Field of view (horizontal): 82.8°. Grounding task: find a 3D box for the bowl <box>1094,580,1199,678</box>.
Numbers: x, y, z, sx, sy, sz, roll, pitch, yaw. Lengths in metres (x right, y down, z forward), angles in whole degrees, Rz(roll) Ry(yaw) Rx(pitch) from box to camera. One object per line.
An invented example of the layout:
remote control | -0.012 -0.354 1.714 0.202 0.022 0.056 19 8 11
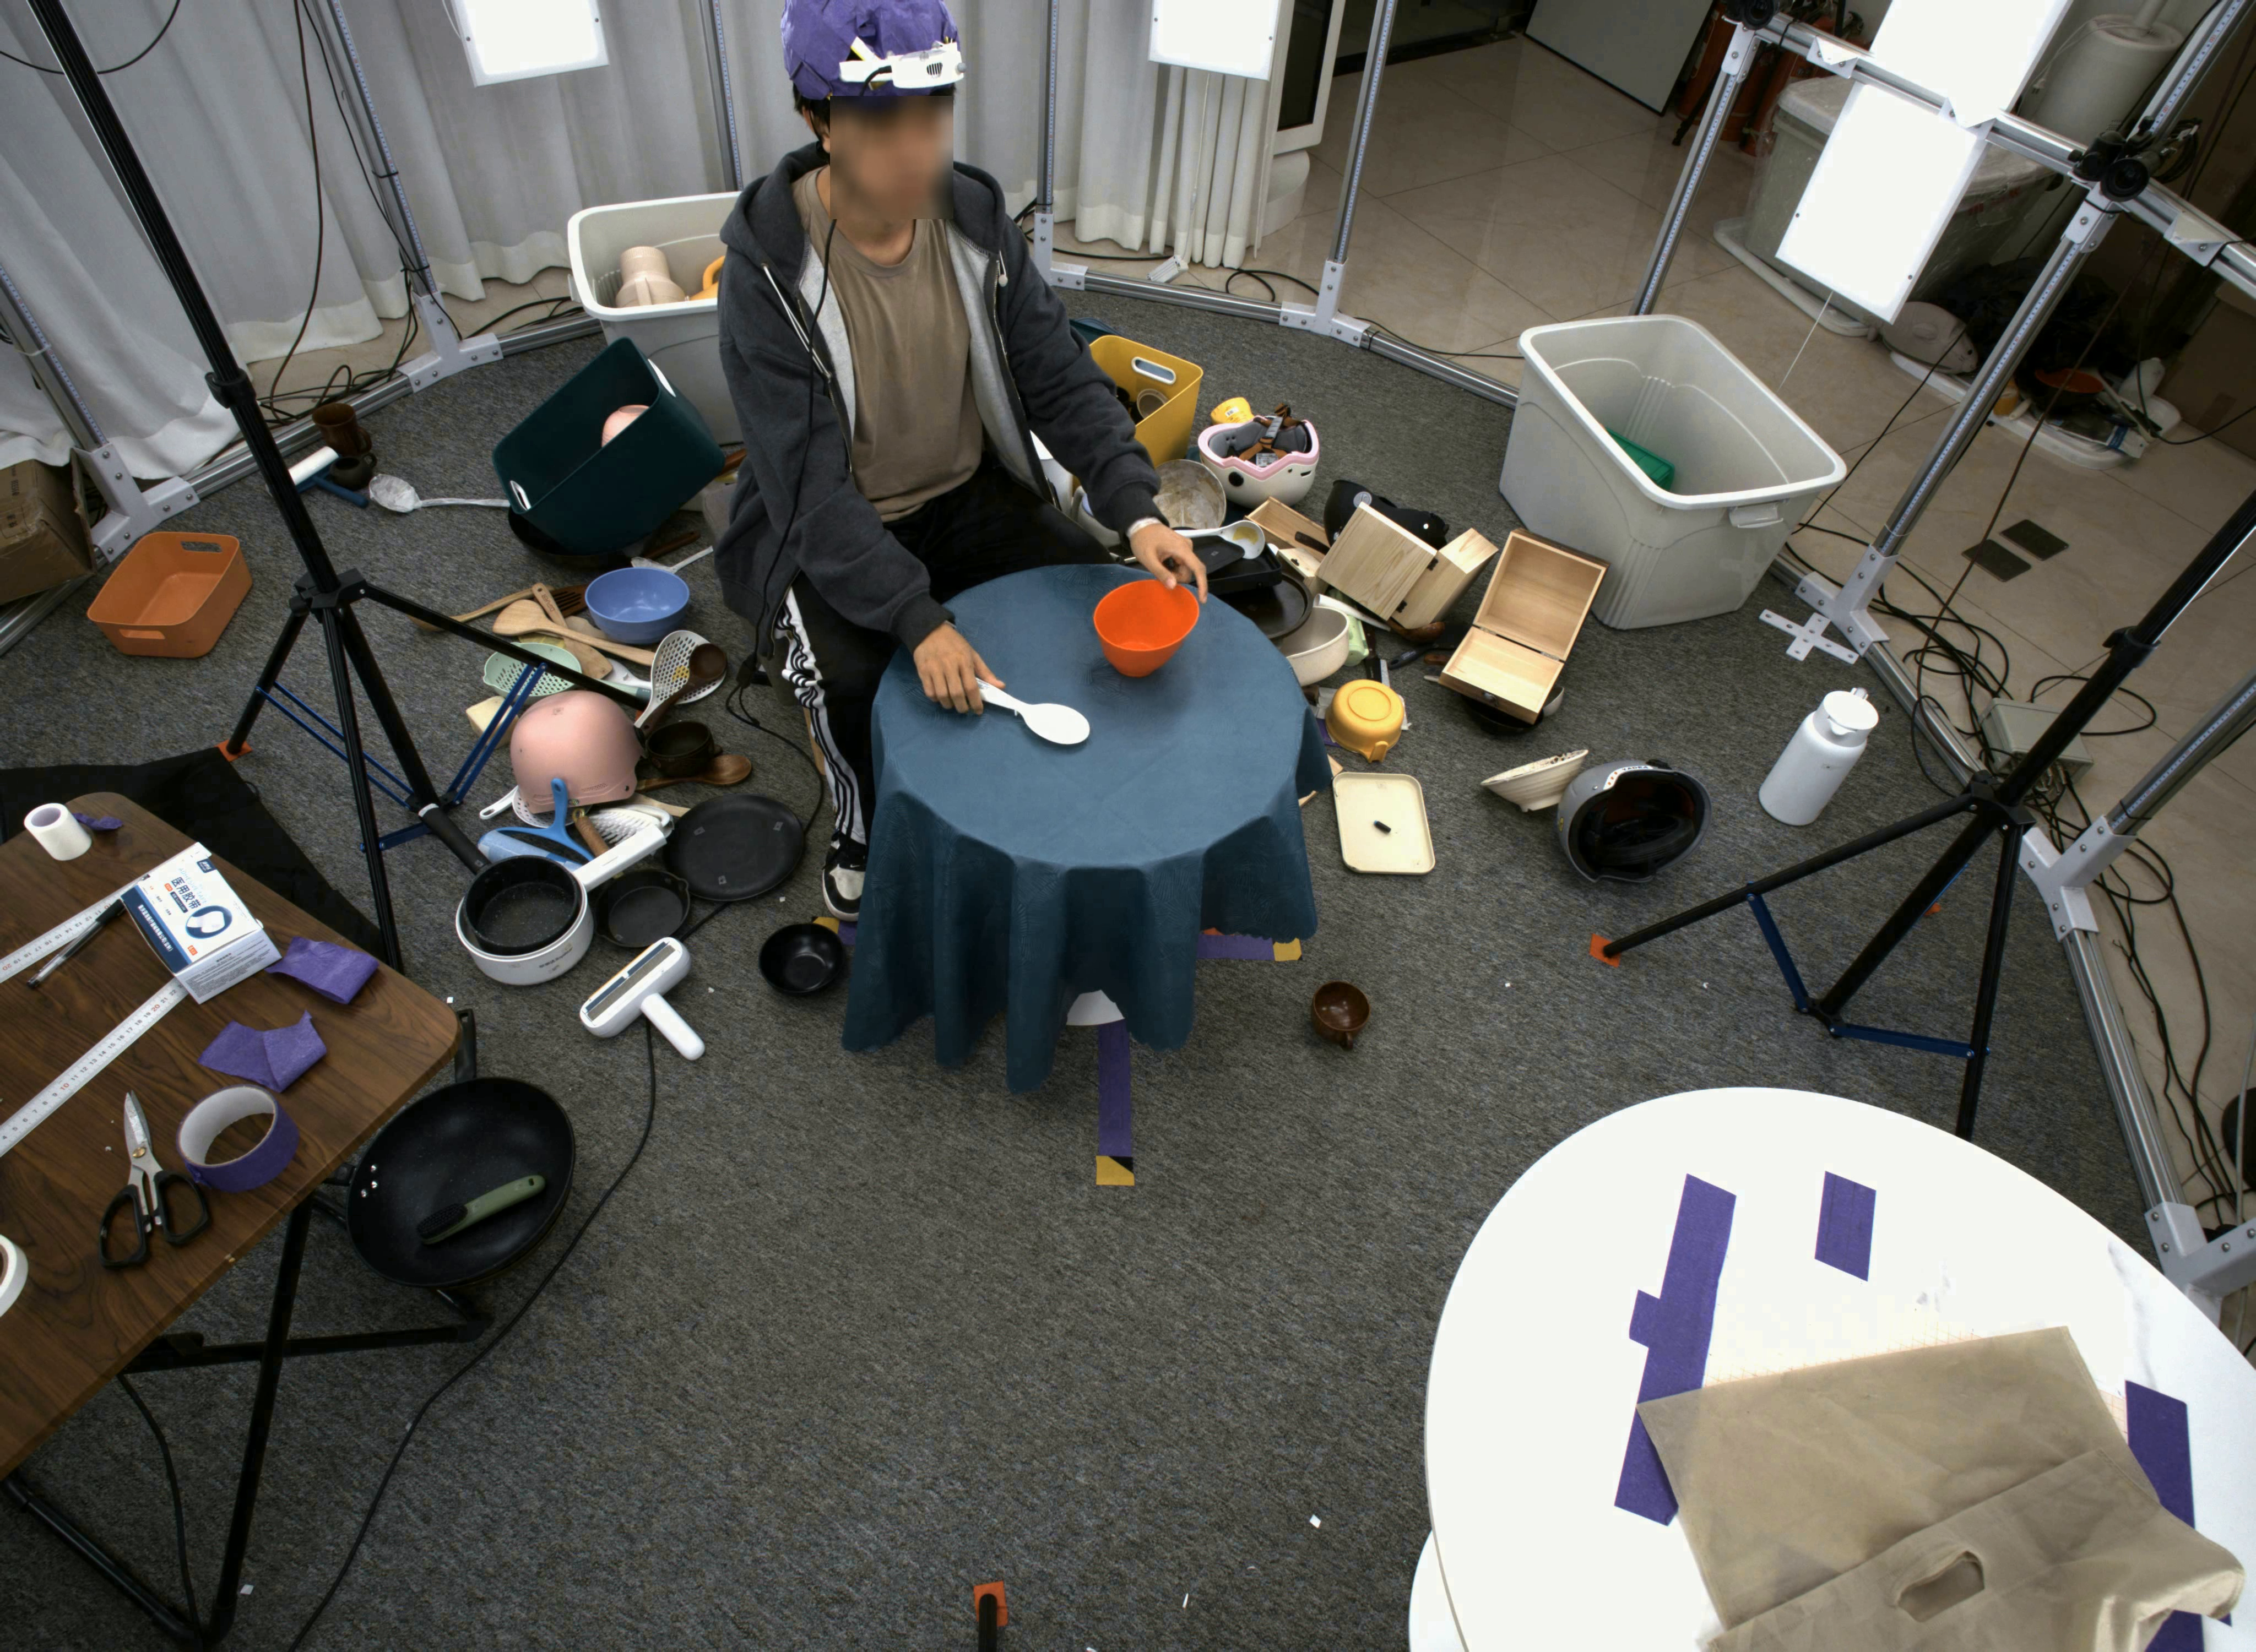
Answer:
bowl | 0.024 -0.271 1.838 0.148 0.102 0.152 1 50 -2

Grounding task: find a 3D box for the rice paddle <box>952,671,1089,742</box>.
rice paddle | -0.148 -0.166 1.781 0.206 0.029 0.070 23 52 15
